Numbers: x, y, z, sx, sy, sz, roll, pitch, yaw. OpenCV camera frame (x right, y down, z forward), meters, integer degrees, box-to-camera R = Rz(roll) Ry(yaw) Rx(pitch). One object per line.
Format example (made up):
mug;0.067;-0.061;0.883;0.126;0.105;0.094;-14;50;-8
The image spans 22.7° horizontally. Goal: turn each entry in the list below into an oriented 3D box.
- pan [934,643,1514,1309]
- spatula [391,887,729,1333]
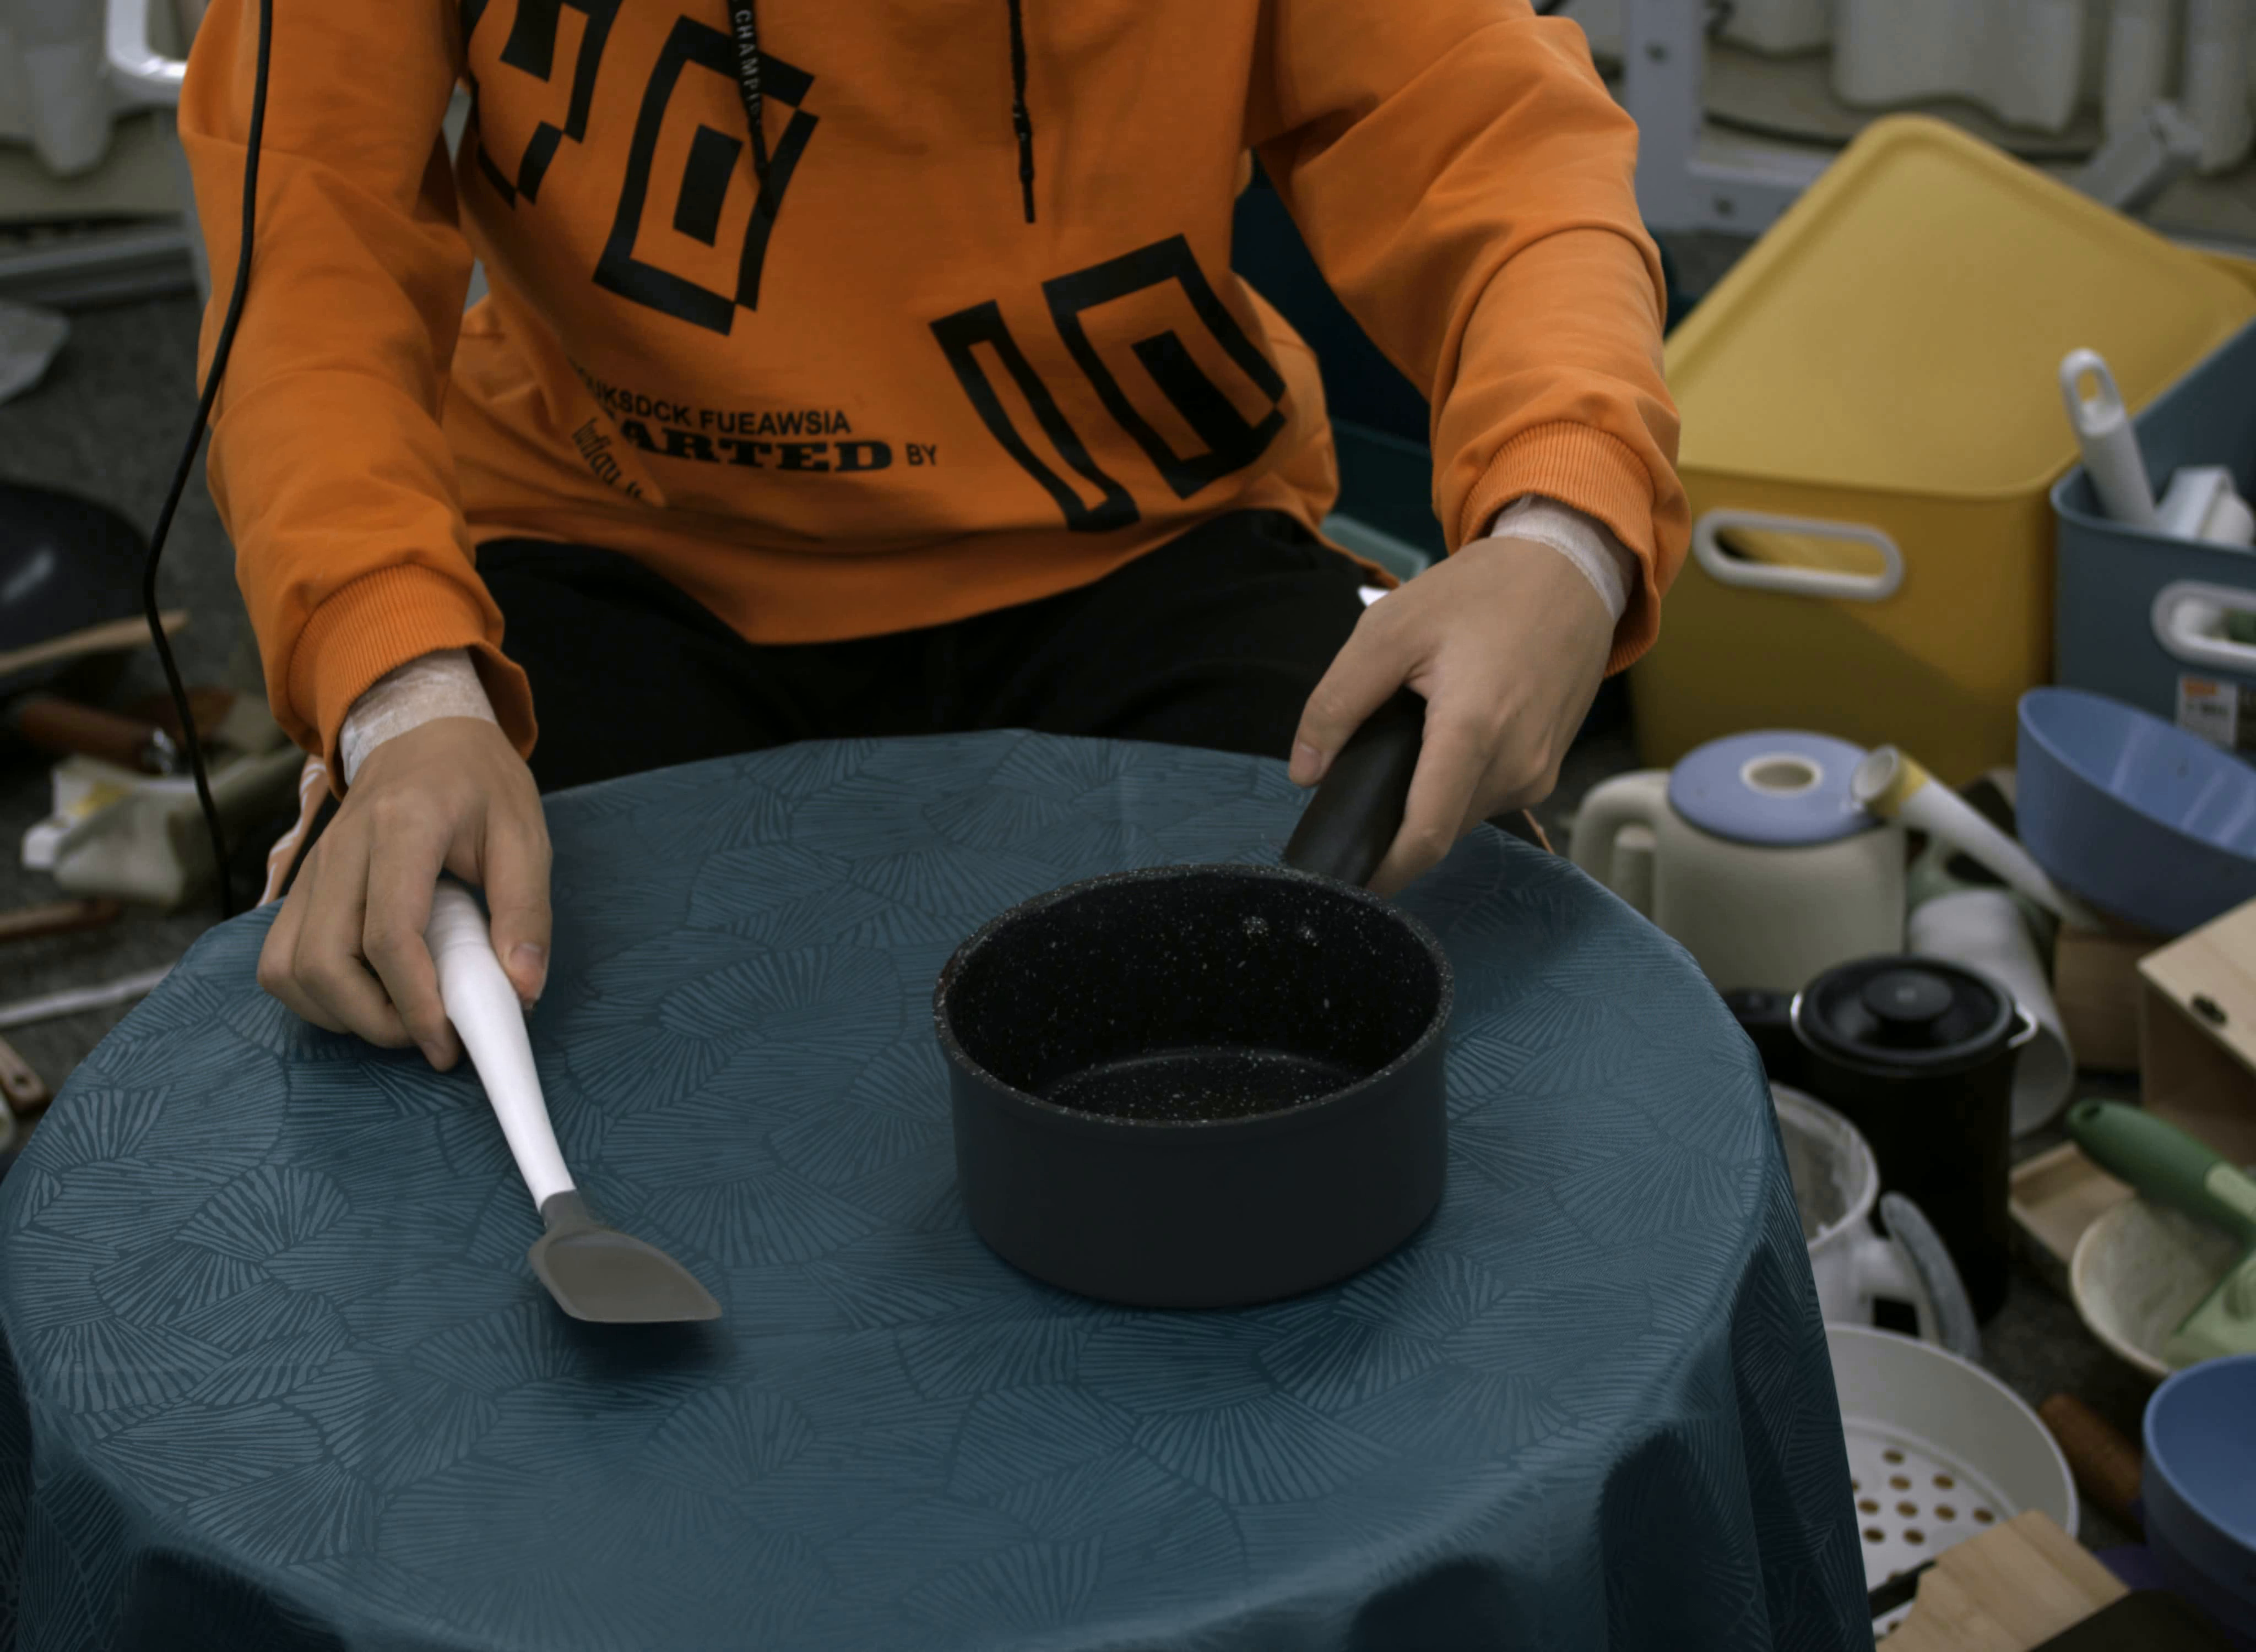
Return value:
pan;0.056;0.047;1.910;0.171;0.085;0.334;10;32;22
spatula;-0.198;0.101;1.882;0.058;0.032;0.290;8;24;-25
